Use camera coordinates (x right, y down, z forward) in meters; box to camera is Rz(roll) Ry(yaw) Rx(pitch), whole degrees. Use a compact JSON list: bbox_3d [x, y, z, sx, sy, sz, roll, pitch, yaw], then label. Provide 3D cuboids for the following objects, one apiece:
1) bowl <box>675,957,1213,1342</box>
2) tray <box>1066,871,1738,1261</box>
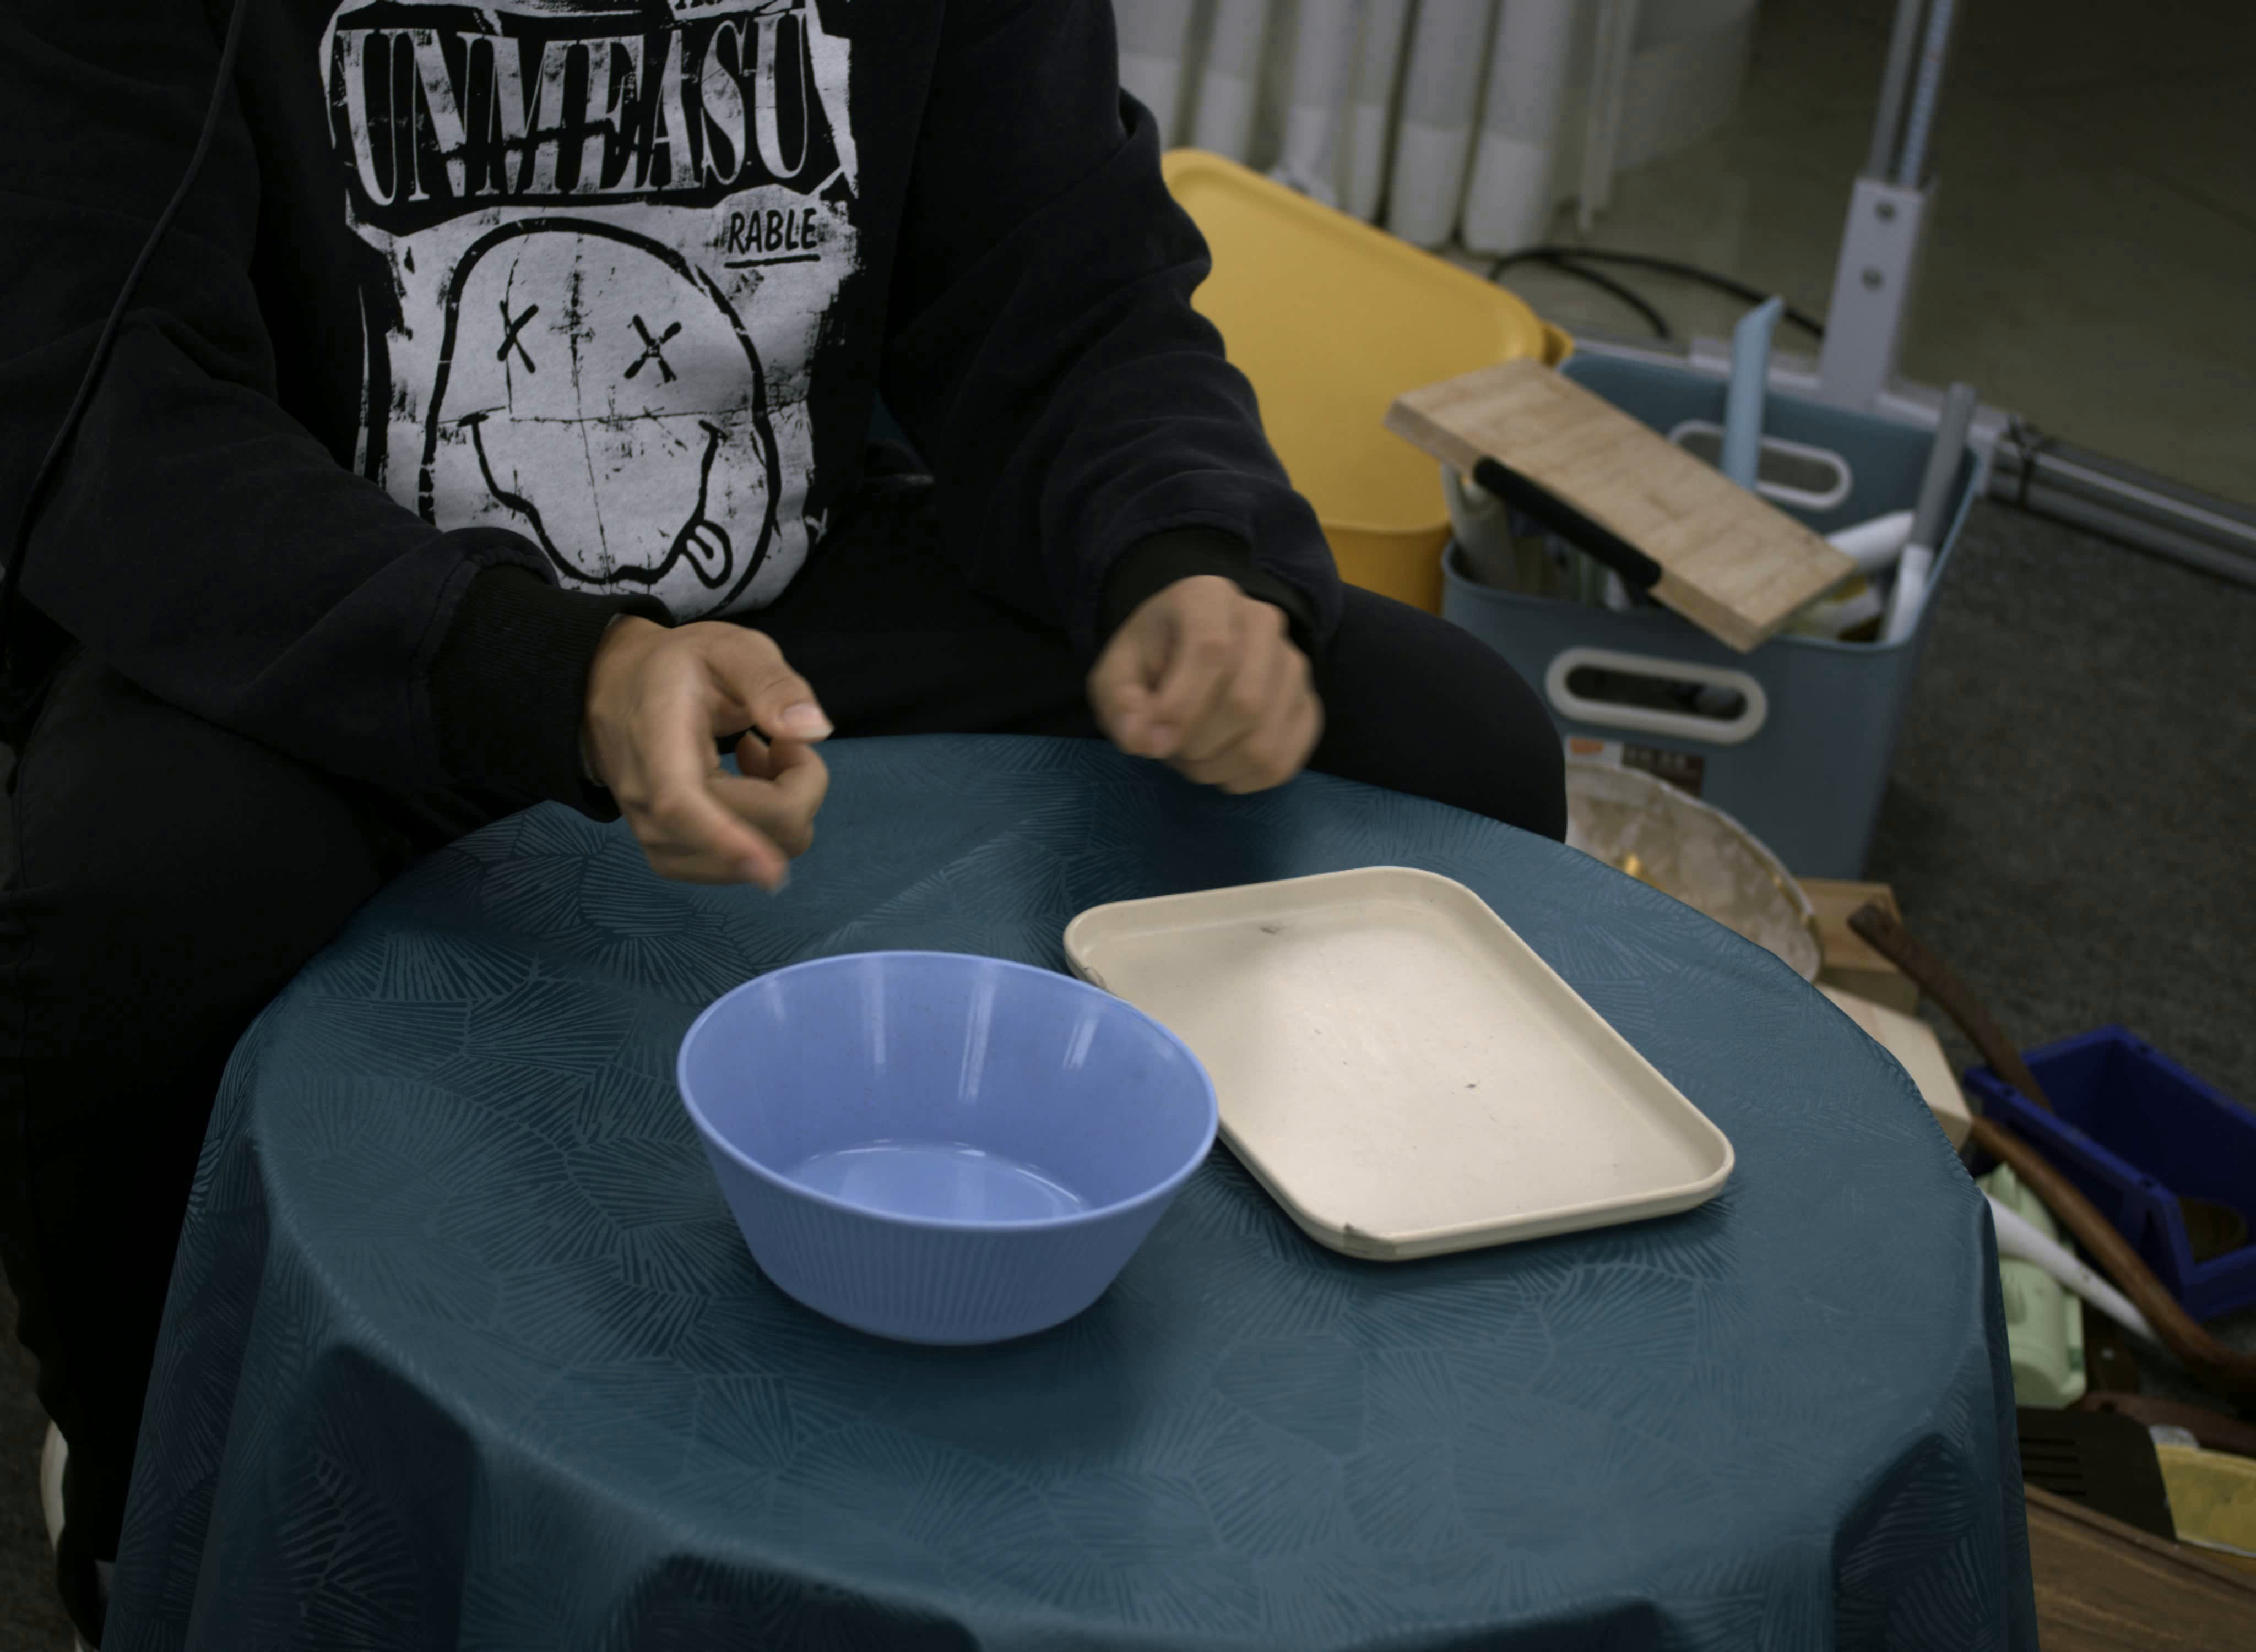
[{"bbox_3d":[-0.063,0.111,1.732,0.175,0.070,0.177,6,26,-3],"label":"bowl"},{"bbox_3d":[0.093,0.083,1.882,0.170,0.017,0.242,-7,29,-25],"label":"tray"}]
